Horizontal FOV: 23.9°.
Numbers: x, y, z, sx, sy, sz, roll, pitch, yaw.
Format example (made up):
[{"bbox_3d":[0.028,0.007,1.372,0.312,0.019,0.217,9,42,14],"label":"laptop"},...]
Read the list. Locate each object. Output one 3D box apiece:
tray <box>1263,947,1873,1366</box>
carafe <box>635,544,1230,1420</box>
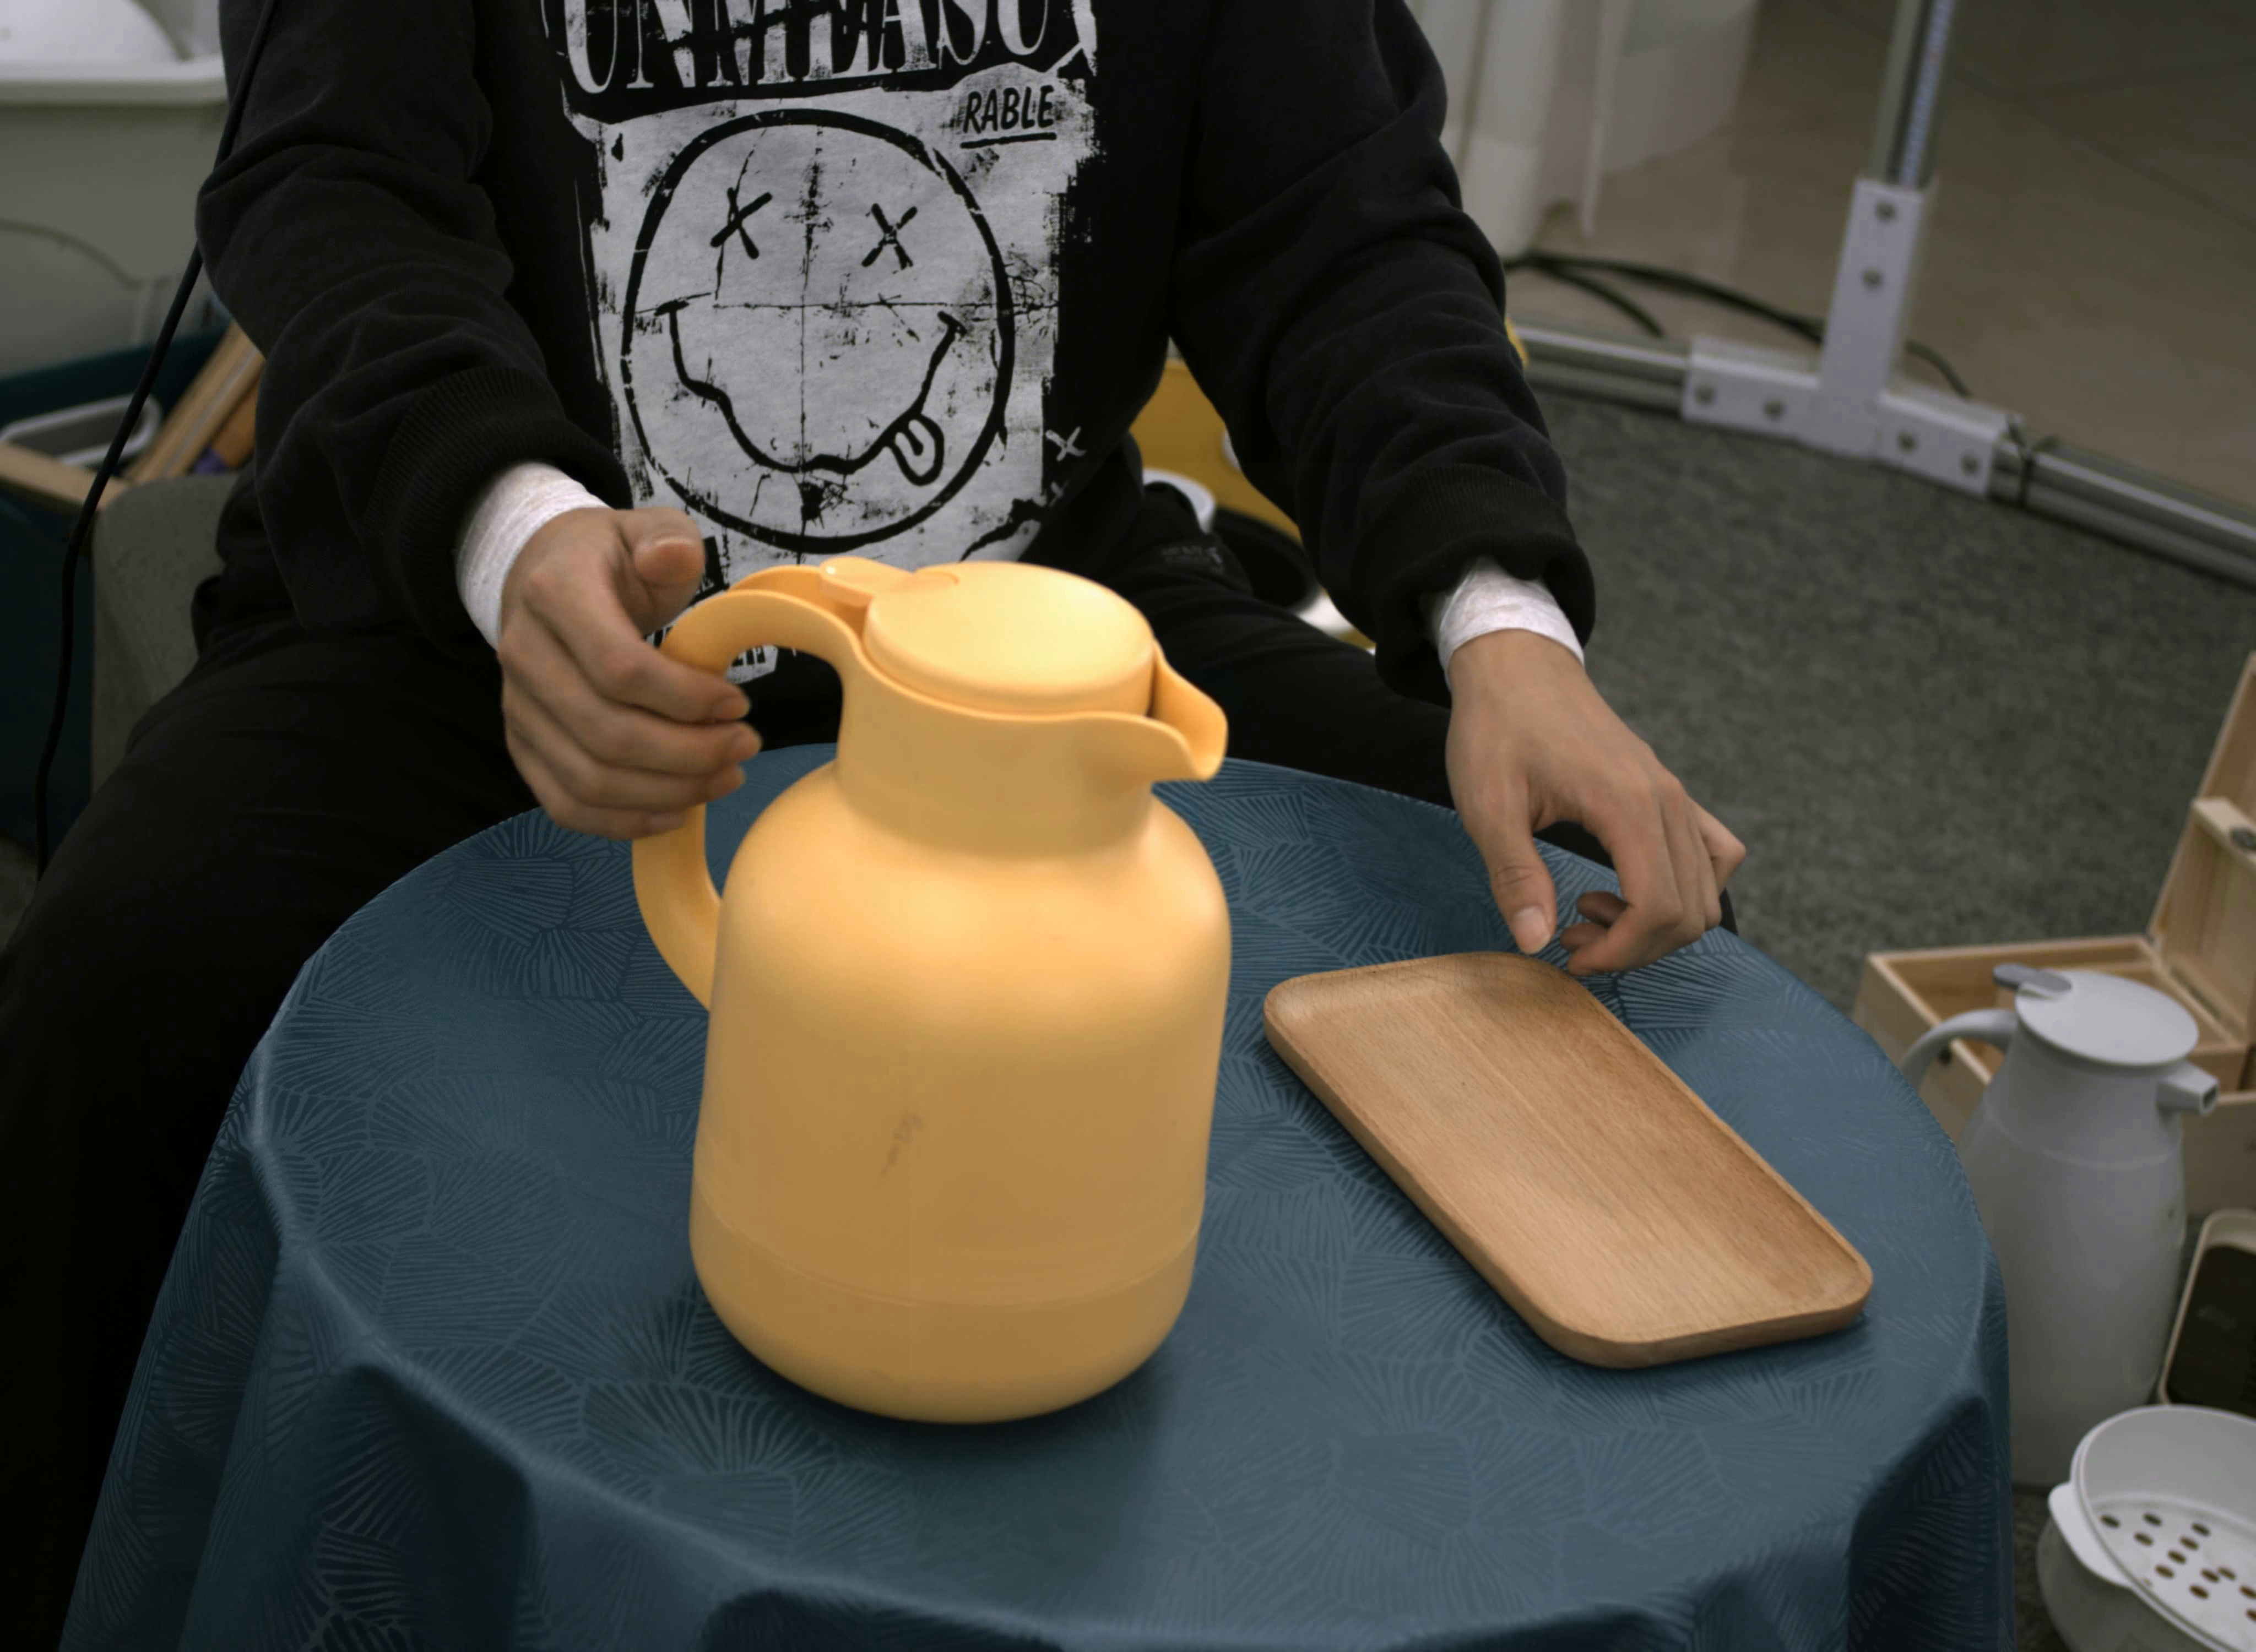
[{"bbox_3d":[0.148,0.112,1.843,0.129,0.023,0.253,-4,28,-25],"label":"tray"},{"bbox_3d":[-0.067,0.038,1.669,0.203,0.260,0.163,23,28,25],"label":"carafe"}]
